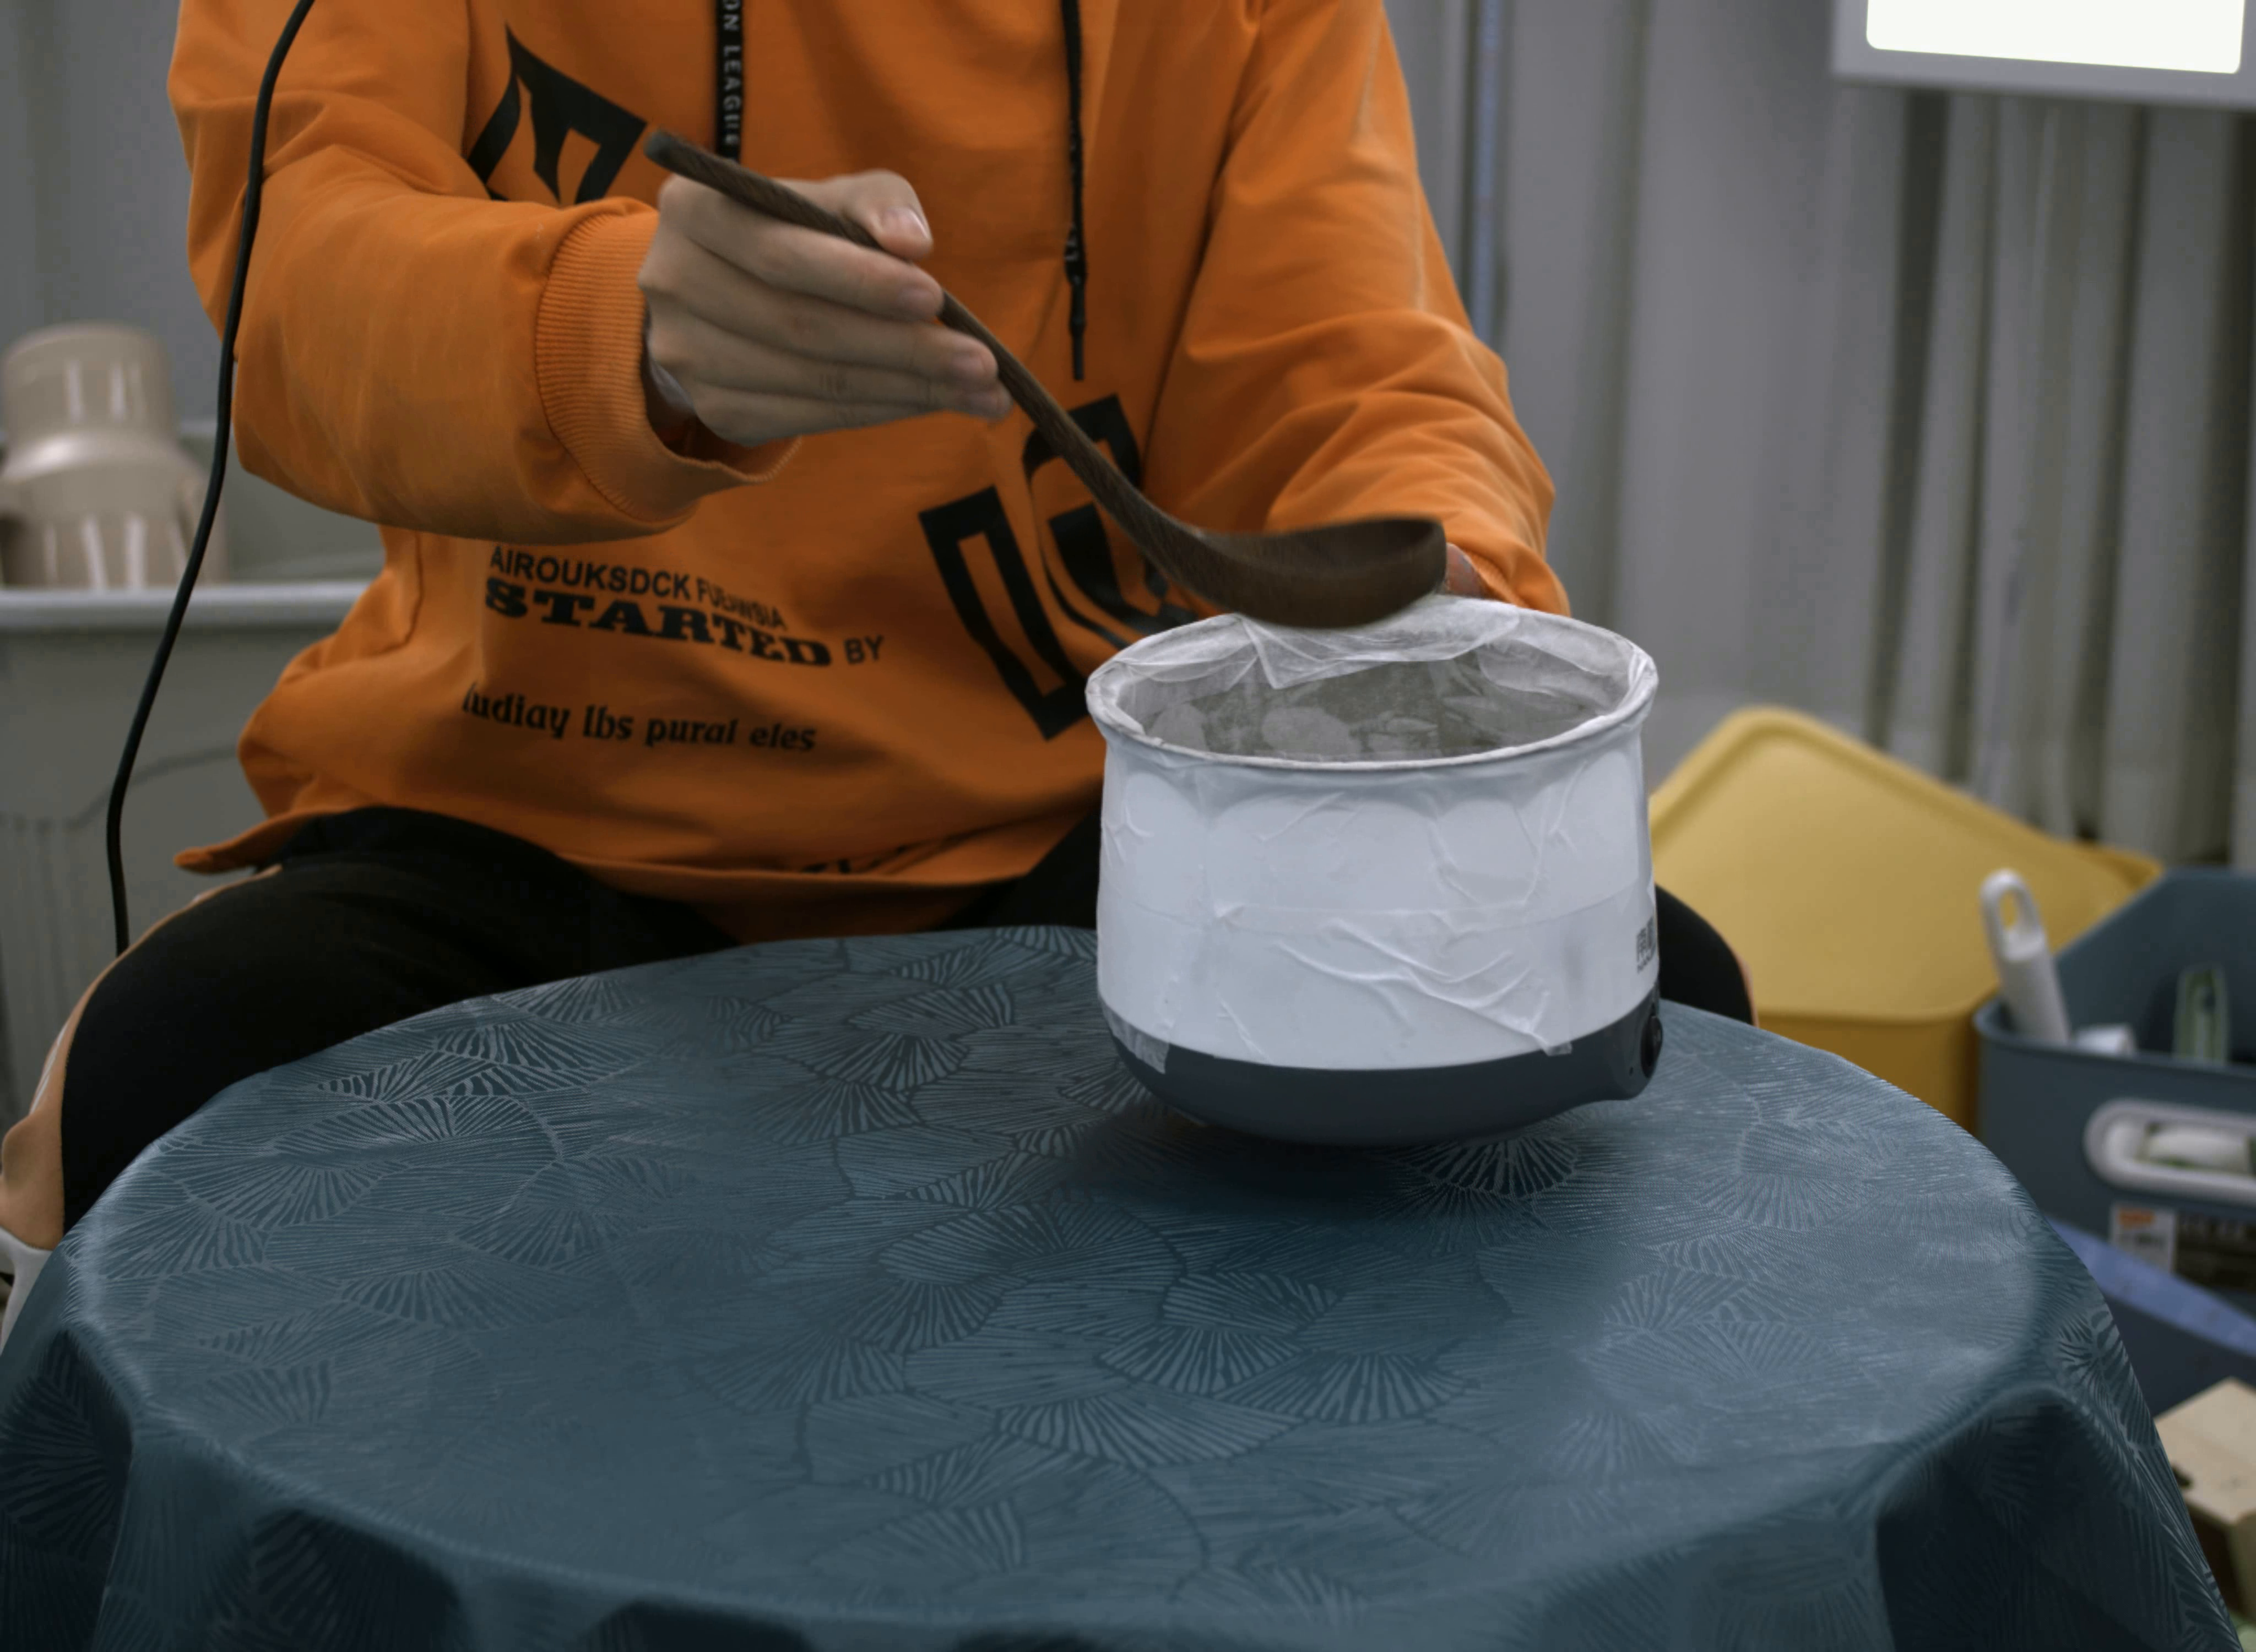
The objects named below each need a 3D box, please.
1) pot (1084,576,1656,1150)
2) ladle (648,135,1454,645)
[{"bbox_3d":[0.084,0.006,1.671,0.177,0.138,0.233,4,19,15],"label":"pot"},{"bbox_3d":[-0.018,-0.142,1.576,0.276,0.071,0.075,40,-2,-19],"label":"ladle"}]
